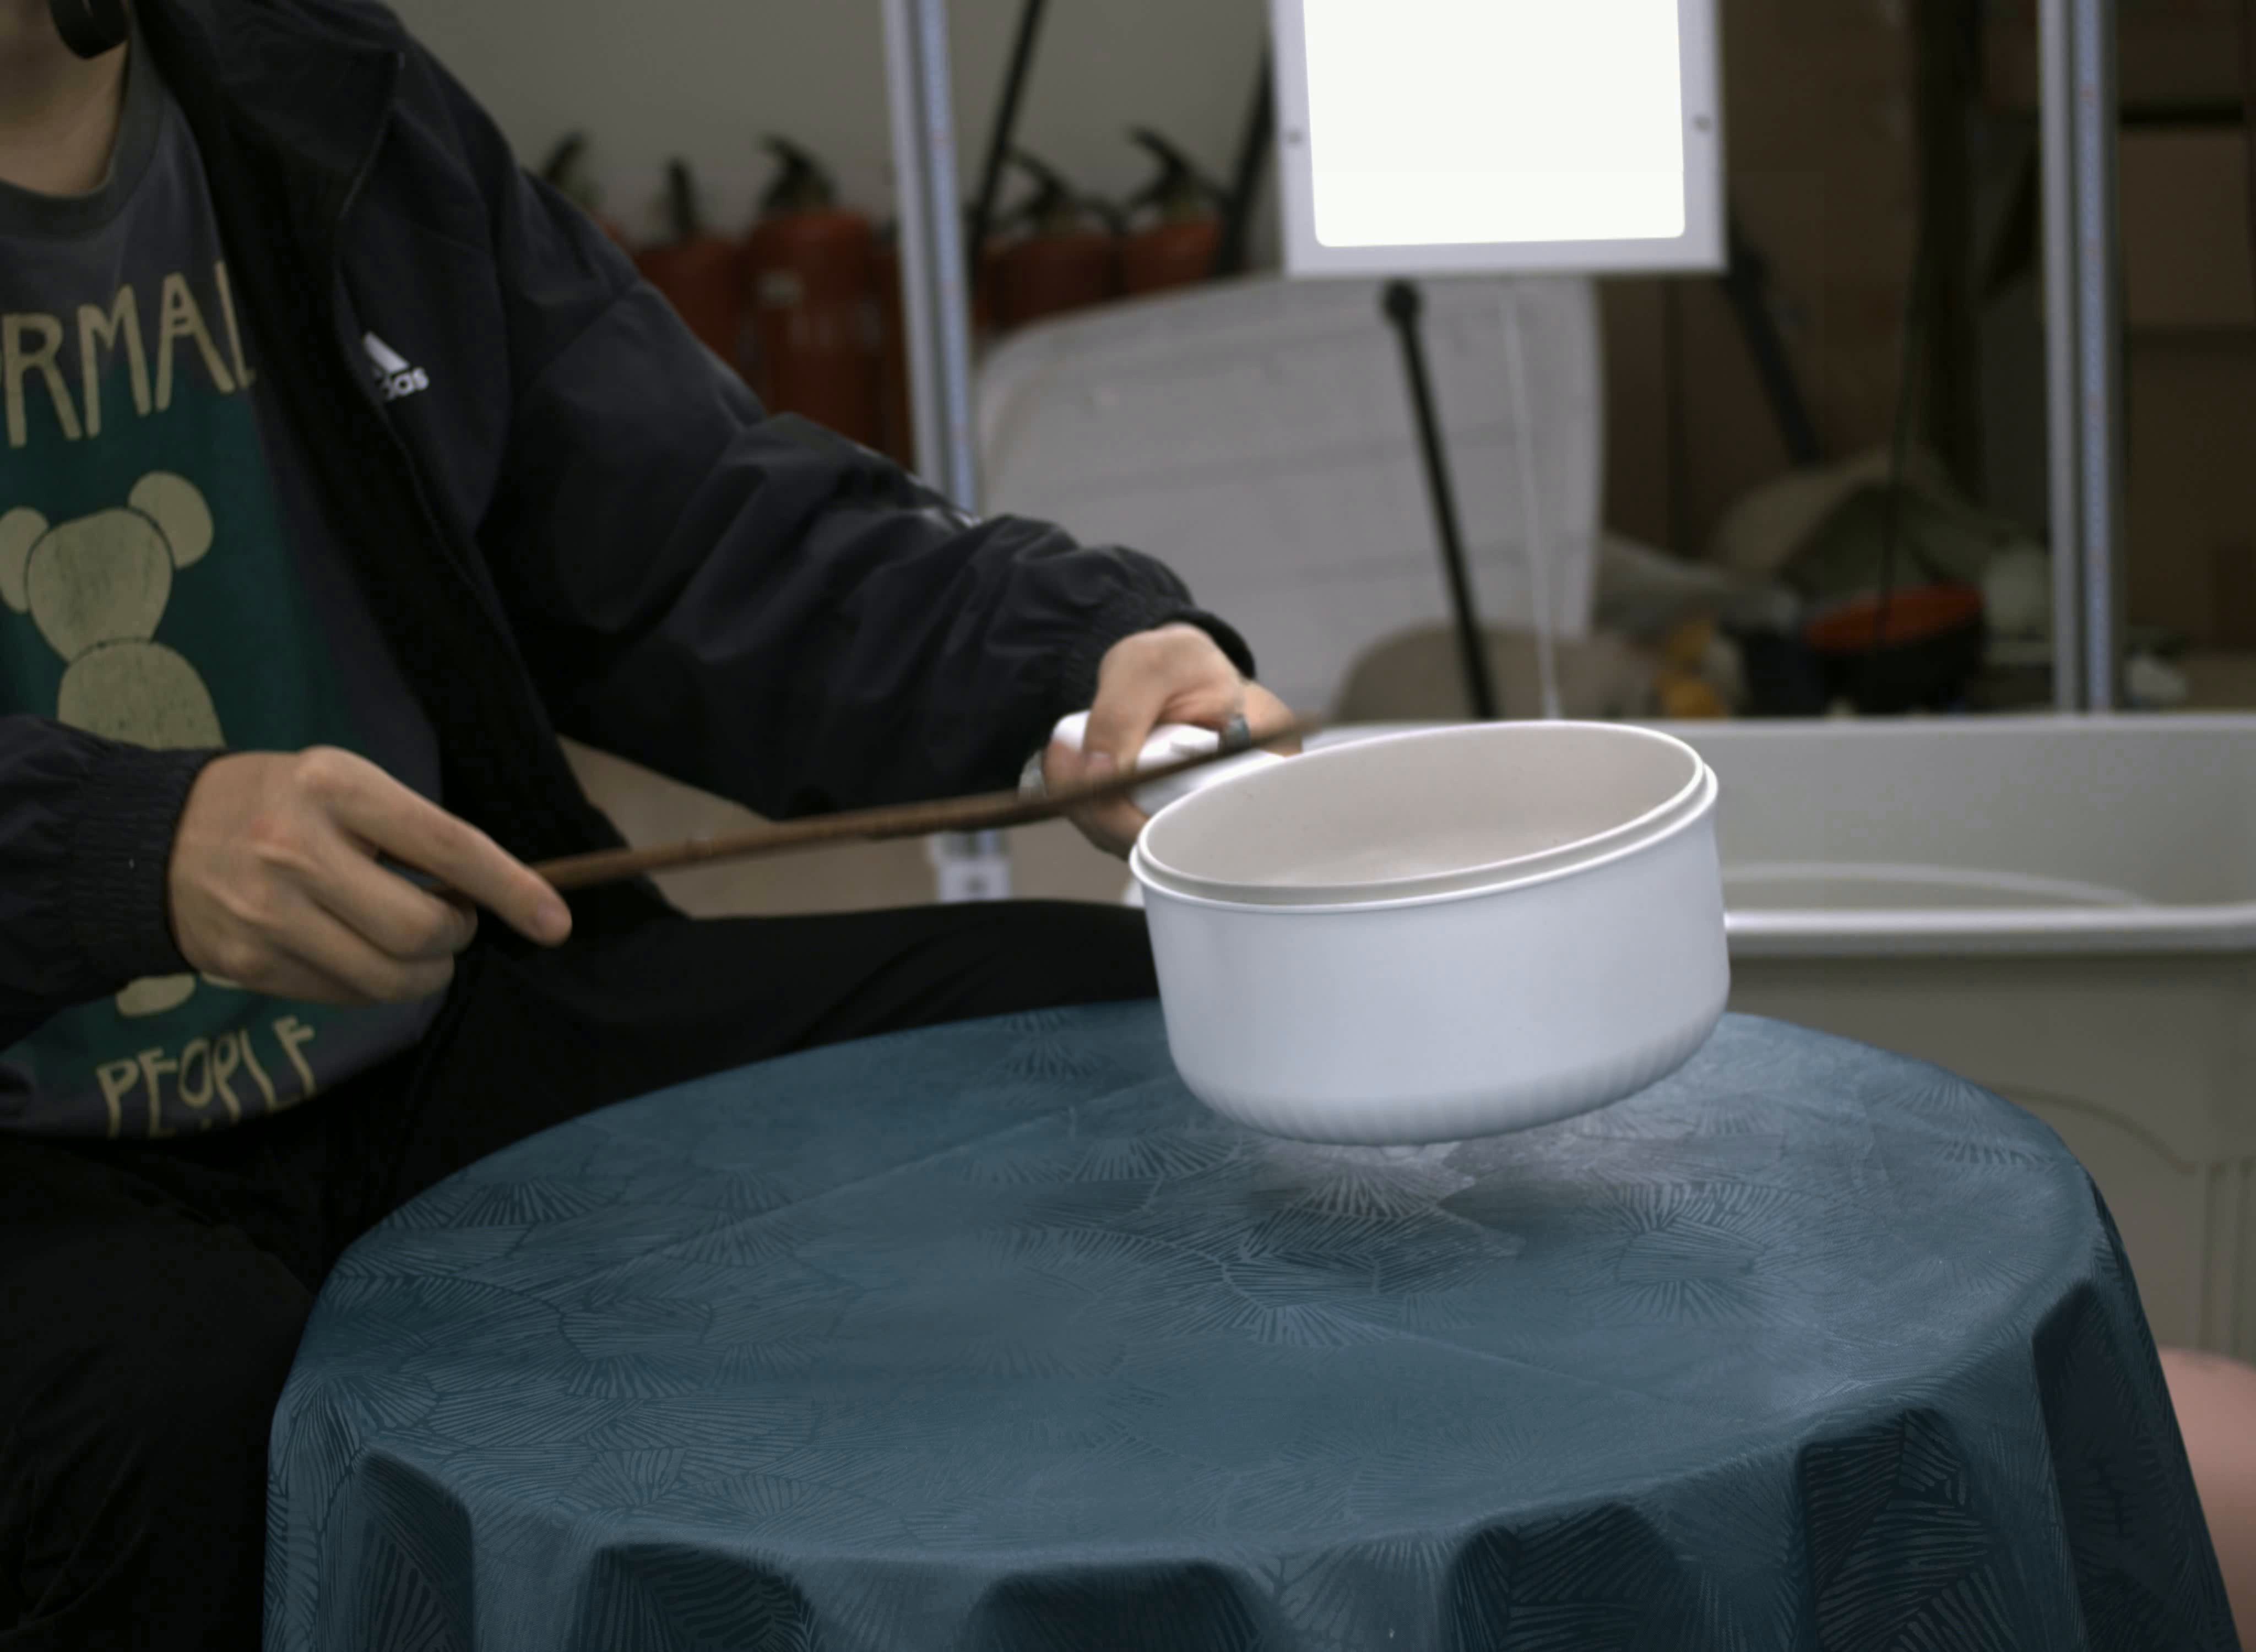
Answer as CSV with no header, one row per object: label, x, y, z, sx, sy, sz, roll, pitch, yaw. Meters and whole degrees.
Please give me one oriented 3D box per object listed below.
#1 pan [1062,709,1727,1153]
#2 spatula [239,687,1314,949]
pan,0.072,0.028,1.942,0.197,0.102,0.360,-17,14,-22
spatula,-0.123,-0.002,1.809,0.391,0.016,0.094,-12,2,21
